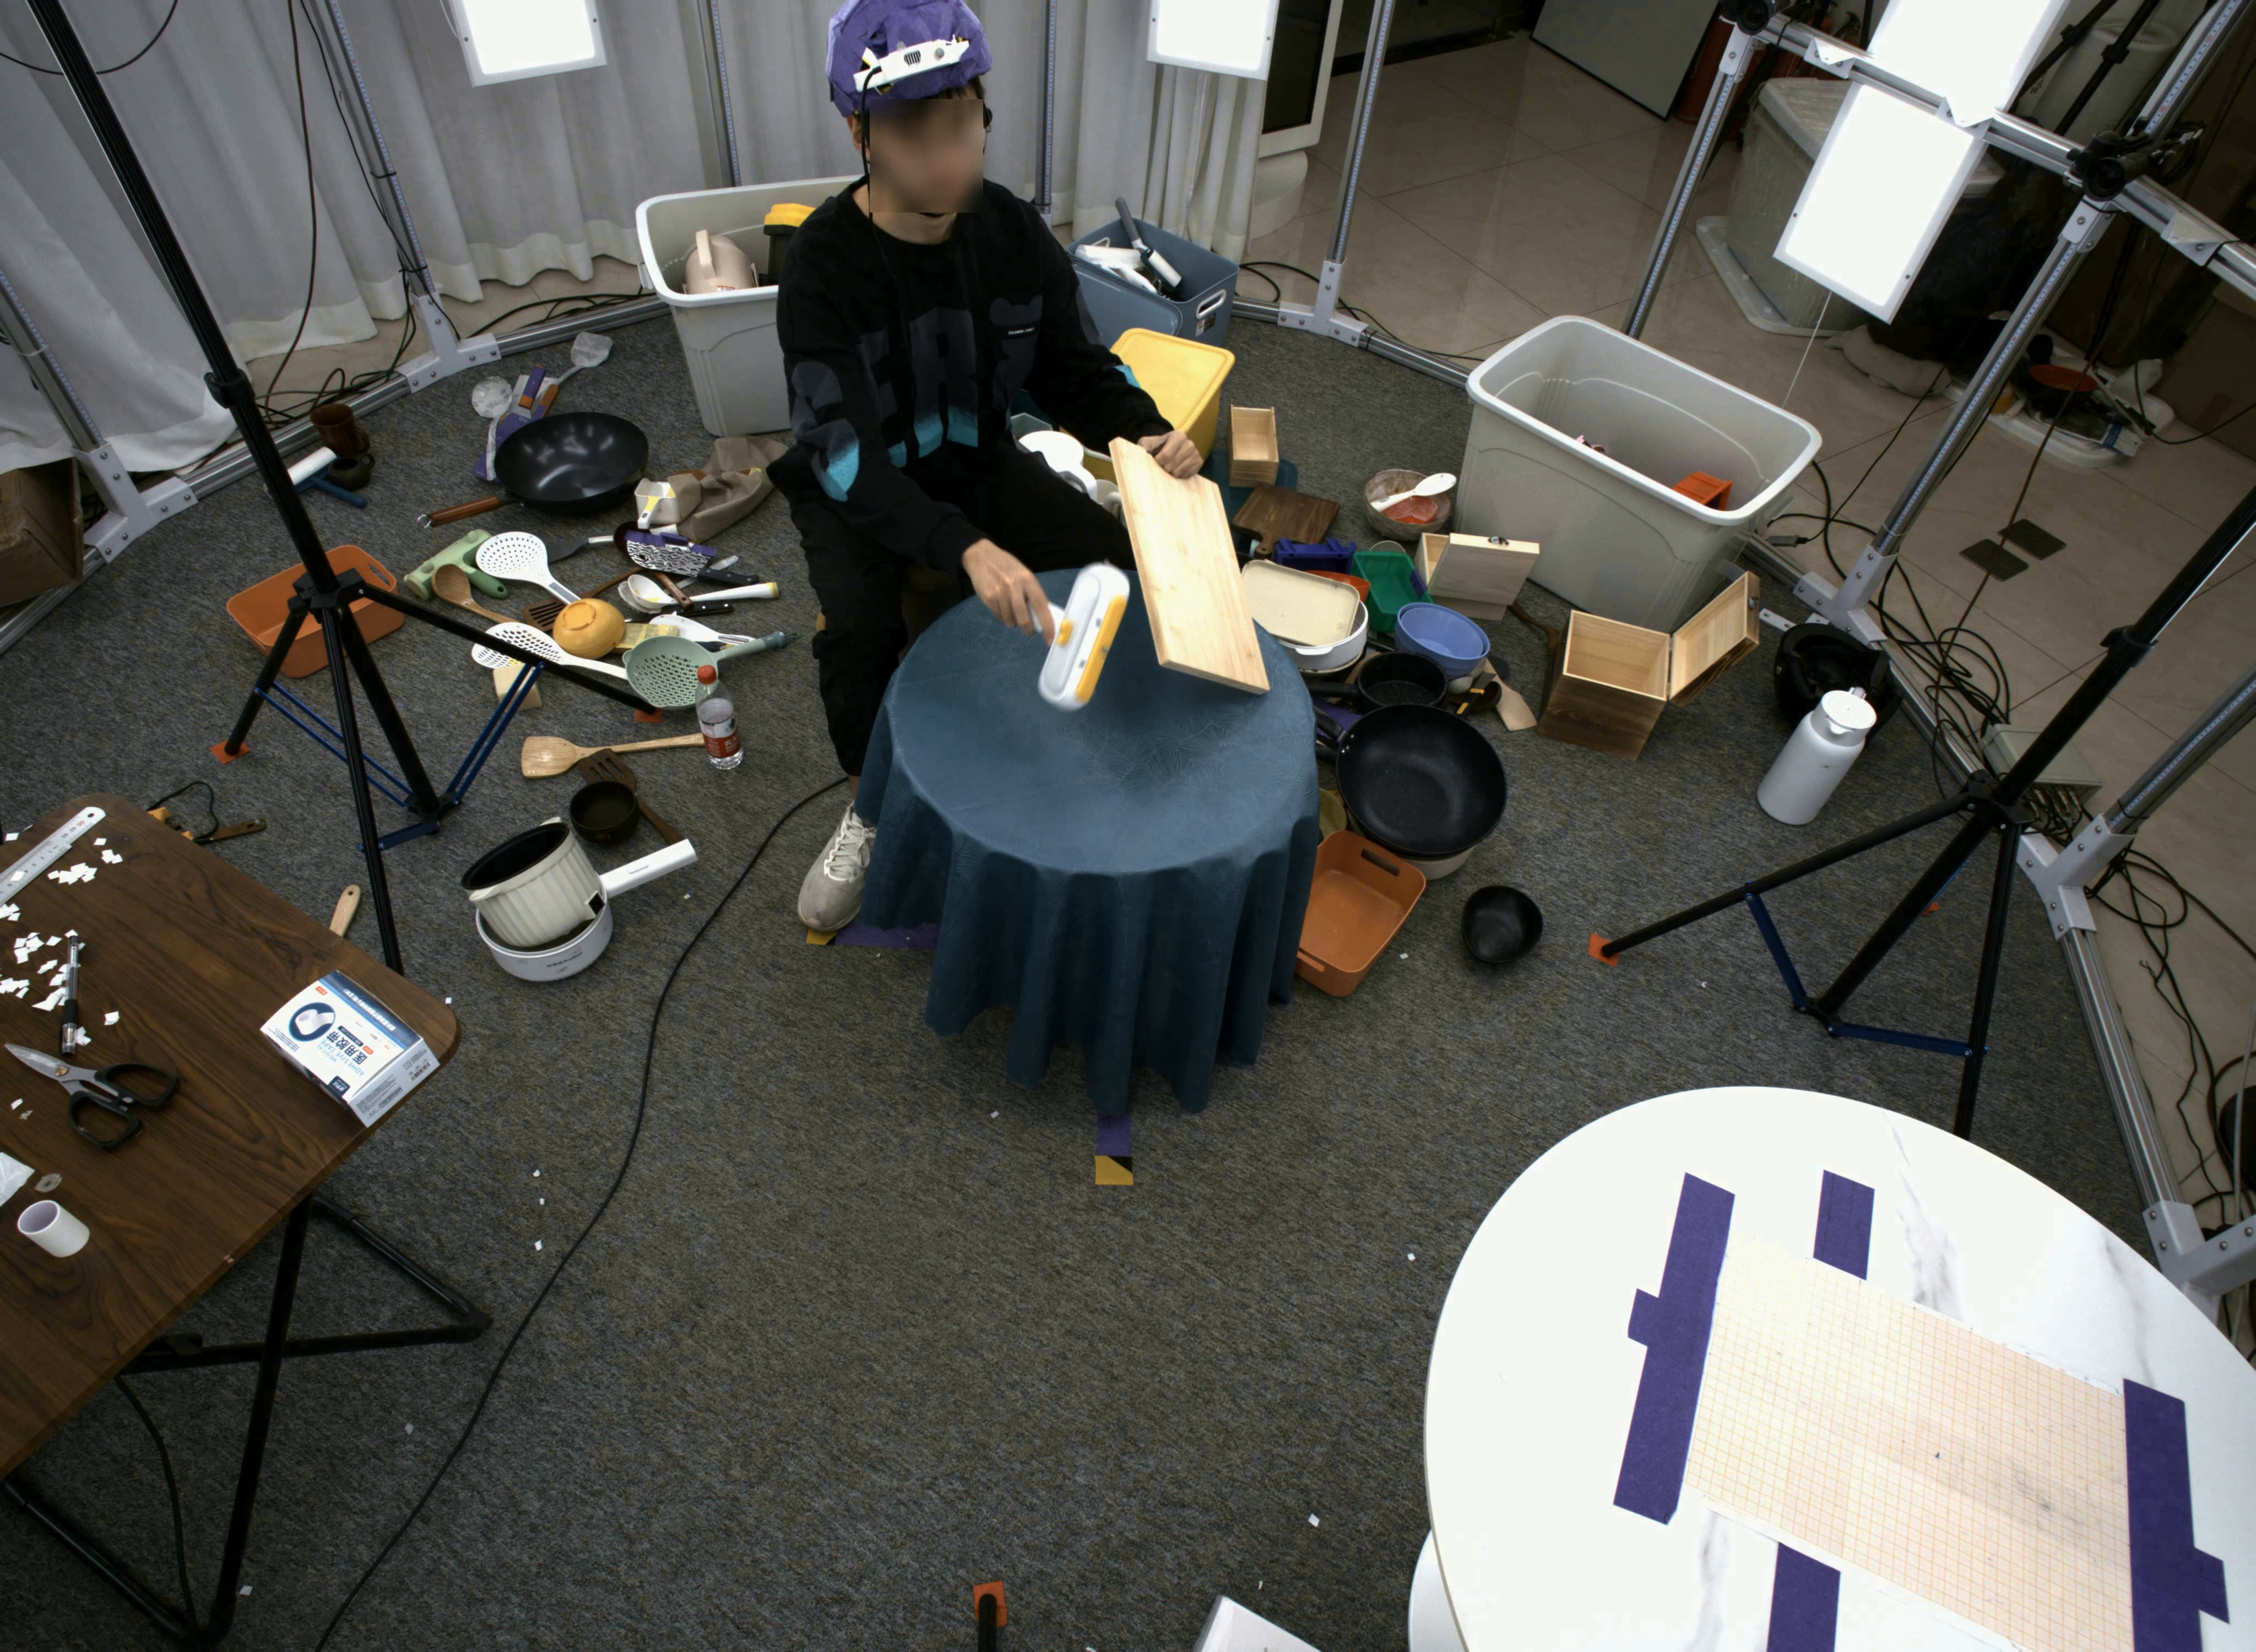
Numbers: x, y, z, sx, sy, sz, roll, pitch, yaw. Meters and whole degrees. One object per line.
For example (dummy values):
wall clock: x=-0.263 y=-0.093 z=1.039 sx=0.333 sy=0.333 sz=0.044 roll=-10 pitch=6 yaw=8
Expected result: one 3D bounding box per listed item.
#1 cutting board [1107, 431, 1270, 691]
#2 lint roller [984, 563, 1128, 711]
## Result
cutting board: x=0.086 y=-0.367 z=1.807 sx=0.248 sy=0.023 sz=0.354 roll=9 pitch=63 yaw=-50
lint roller: x=-0.105 y=-0.267 z=1.680 sx=0.195 sy=0.190 sz=0.074 roll=30 pitch=21 yaw=33
